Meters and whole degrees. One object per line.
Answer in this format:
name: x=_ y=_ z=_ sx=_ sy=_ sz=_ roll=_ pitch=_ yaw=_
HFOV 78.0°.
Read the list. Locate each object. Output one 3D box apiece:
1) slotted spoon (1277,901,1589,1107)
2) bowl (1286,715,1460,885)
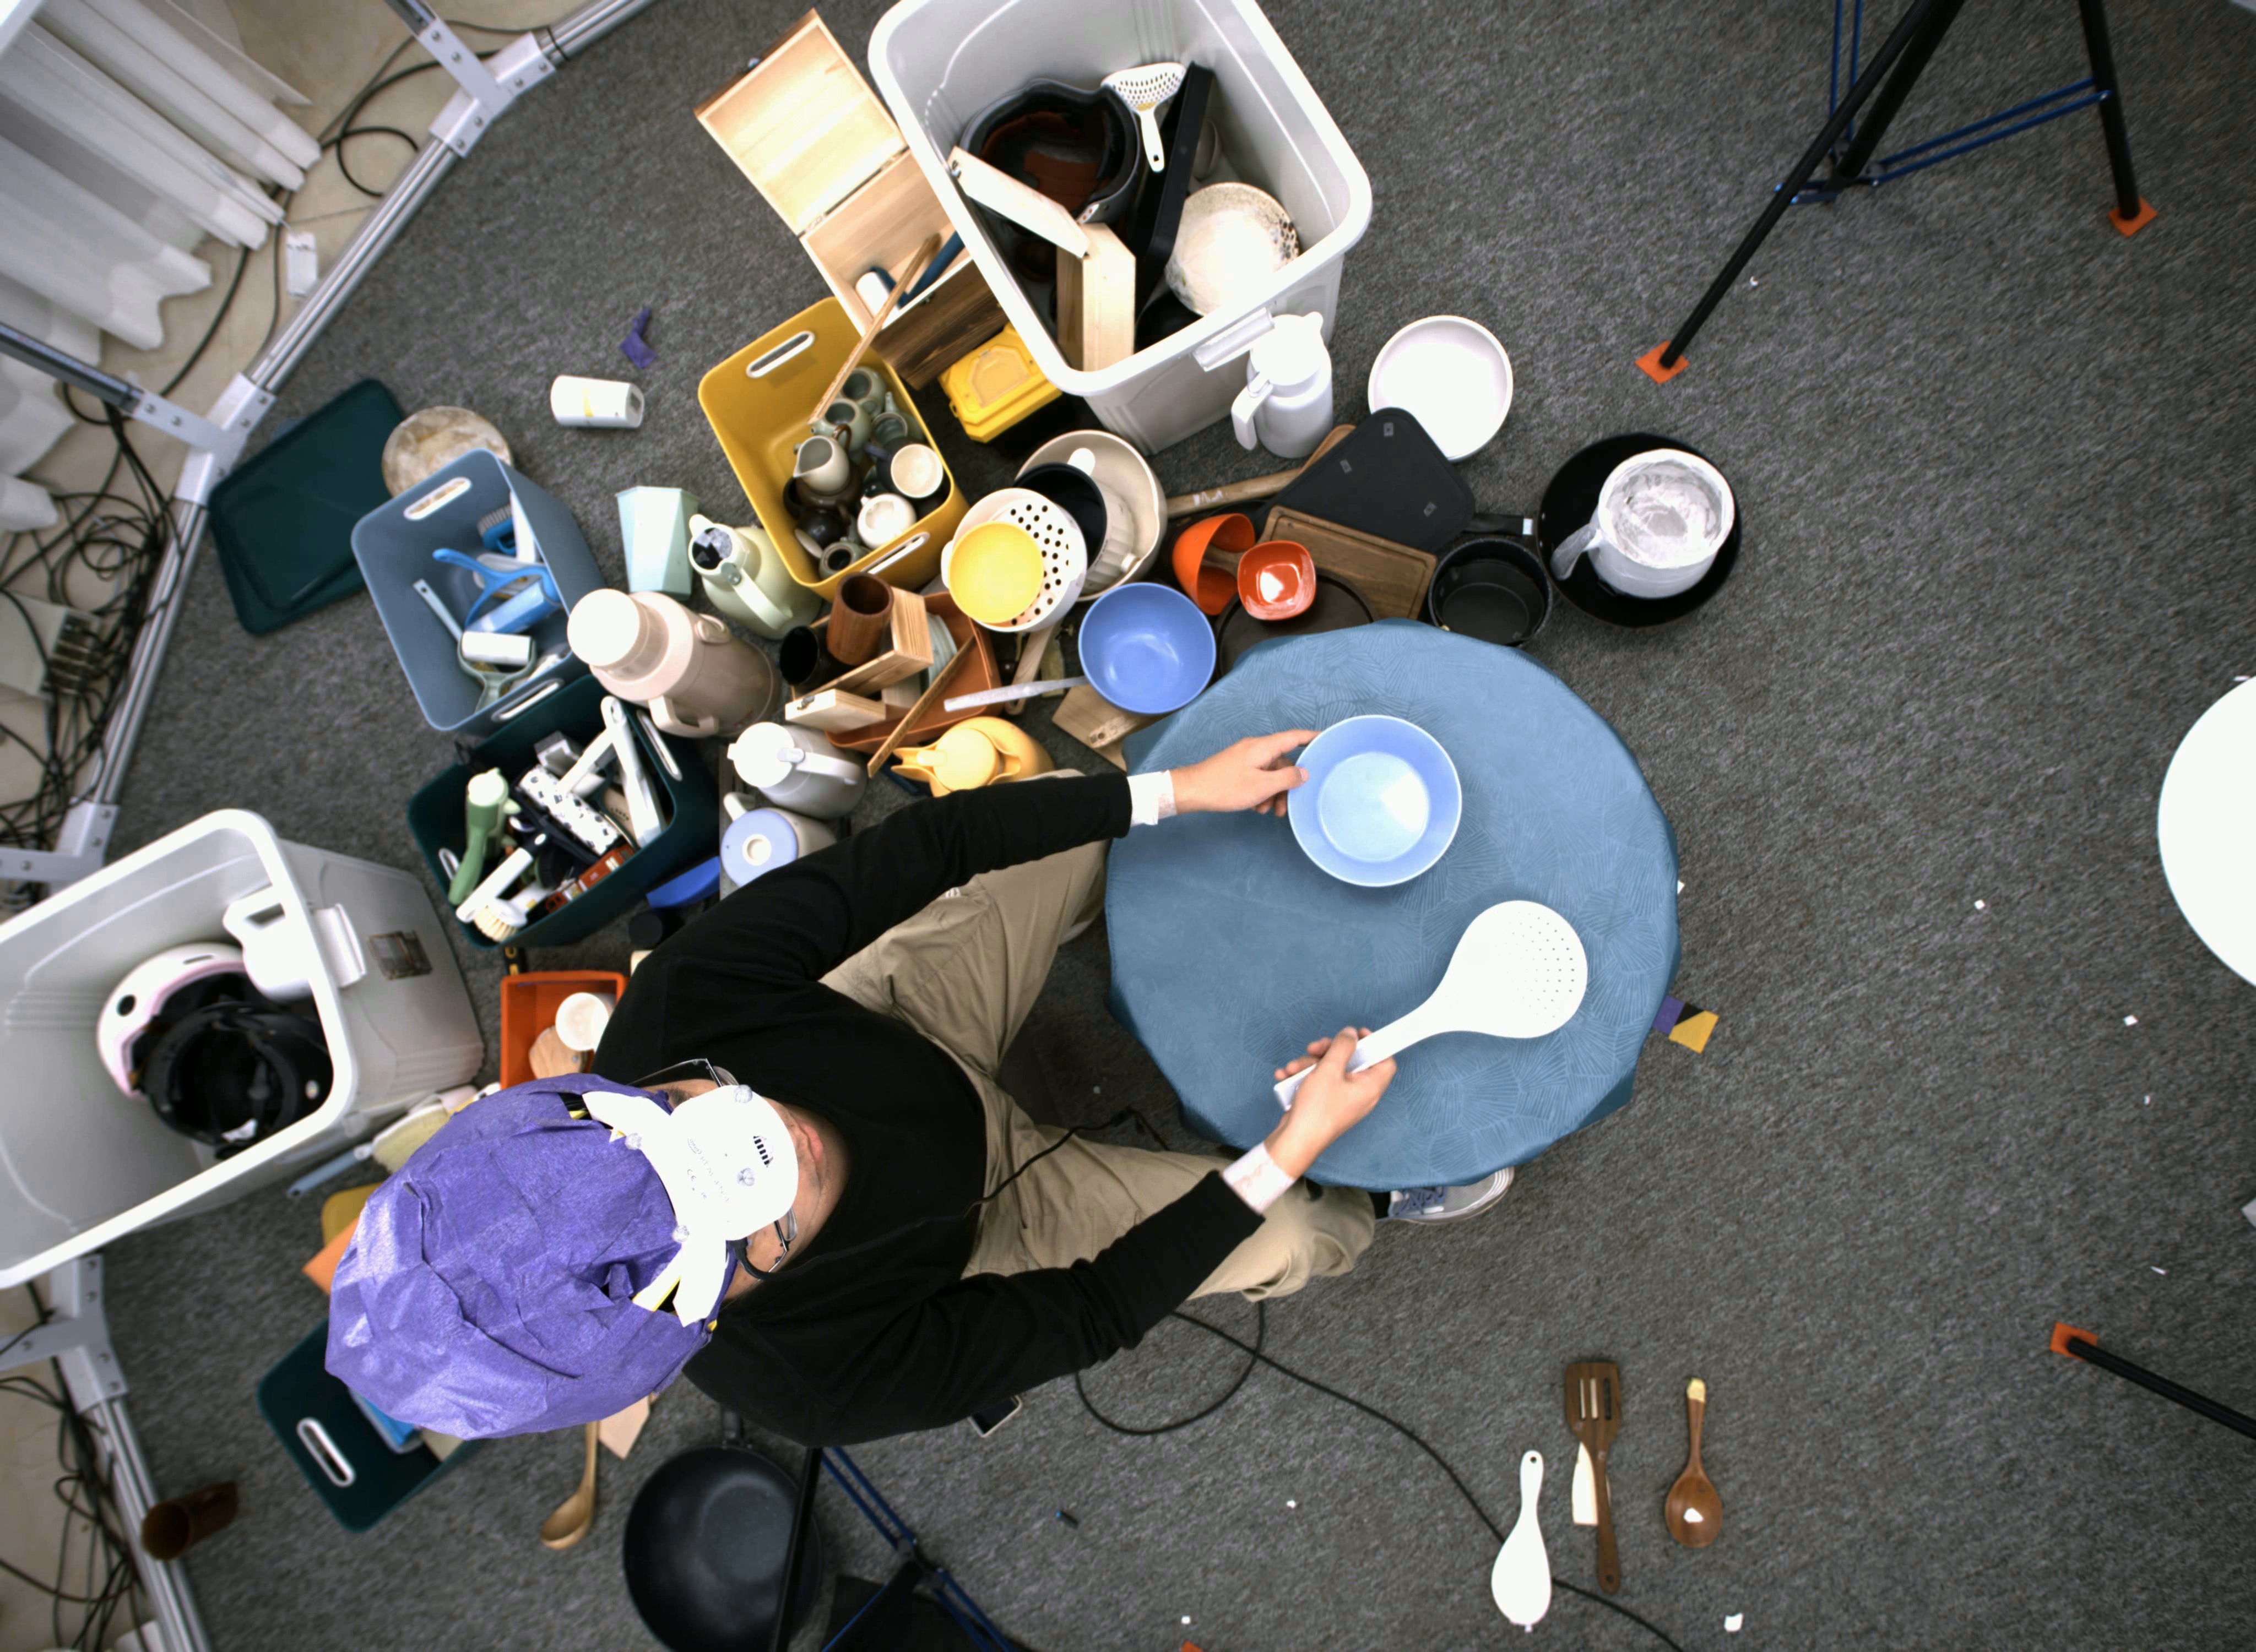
slotted spoon: x=0.305 y=0.188 z=1.380 sx=0.347 sy=0.046 sz=0.136 roll=-26 pitch=88 yaw=-13
bowl: x=0.254 y=-0.025 z=1.433 sx=0.177 sy=0.070 sz=0.175 roll=-1 pitch=86 yaw=11
